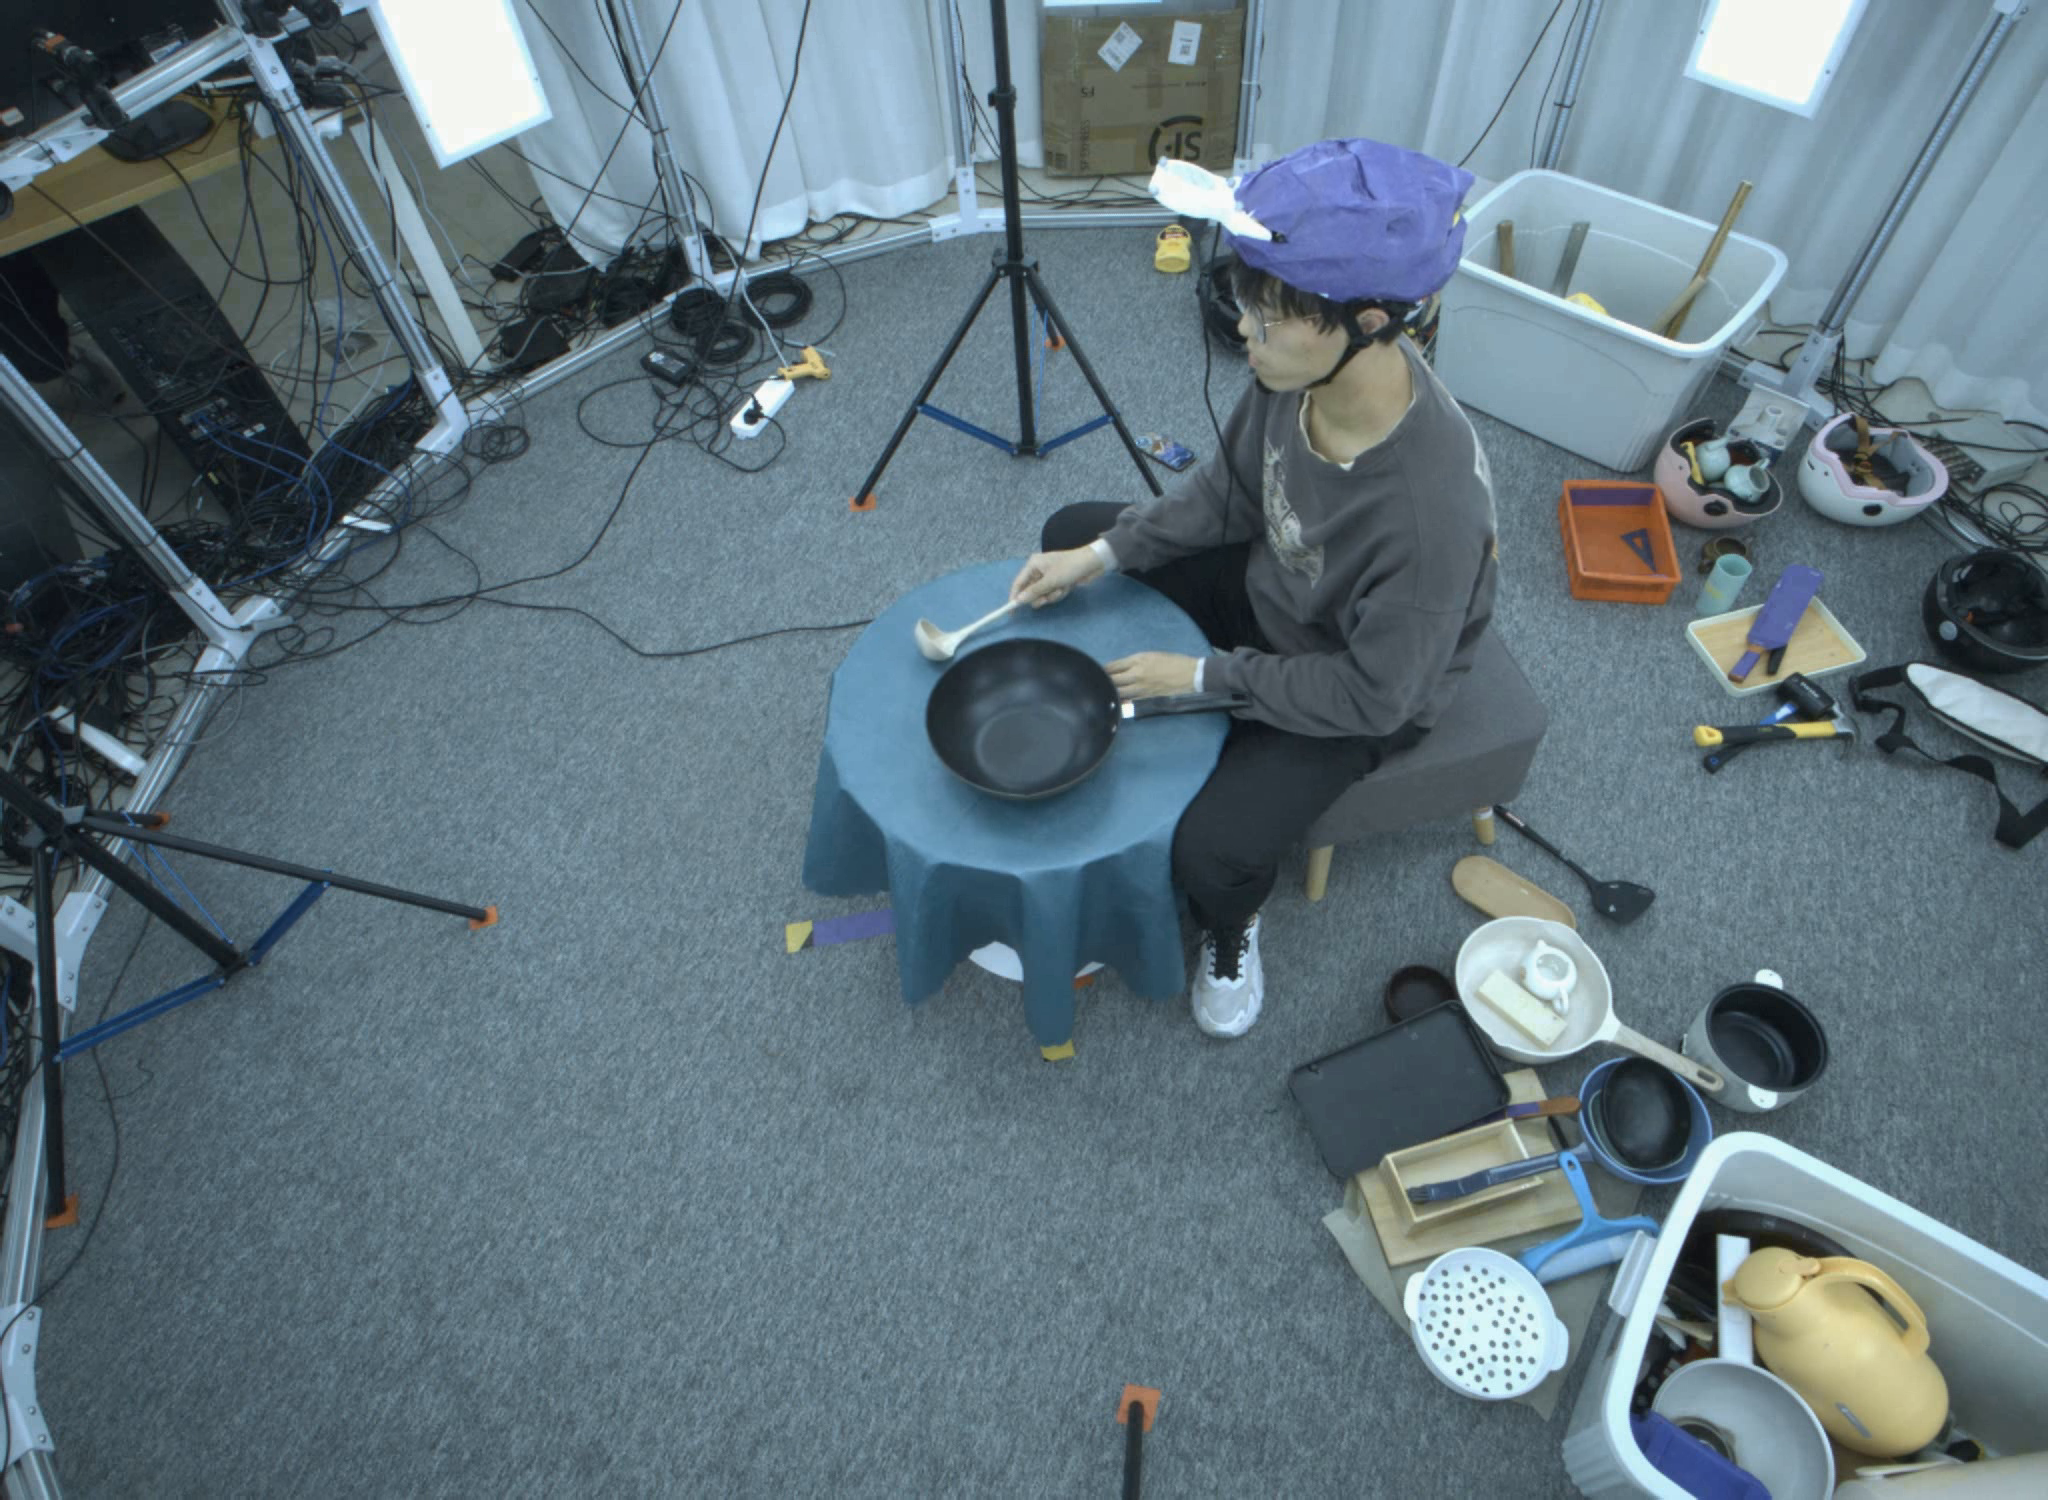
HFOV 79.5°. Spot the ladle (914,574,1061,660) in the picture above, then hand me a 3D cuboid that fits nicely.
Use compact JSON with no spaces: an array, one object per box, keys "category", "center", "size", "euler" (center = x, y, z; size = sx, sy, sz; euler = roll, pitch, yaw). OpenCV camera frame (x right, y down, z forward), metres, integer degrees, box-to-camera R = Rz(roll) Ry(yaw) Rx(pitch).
[{"category":"ladle","center":[-0.053,-0.224,1.887],"size":[0.255,0.074,0.071],"euler":[-33,63,-10]}]

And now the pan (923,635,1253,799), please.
[{"category":"pan","center":[0.091,-0.038,1.758],"size":[0.464,0.088,0.285],"euler":[-3,54,-1]}]
